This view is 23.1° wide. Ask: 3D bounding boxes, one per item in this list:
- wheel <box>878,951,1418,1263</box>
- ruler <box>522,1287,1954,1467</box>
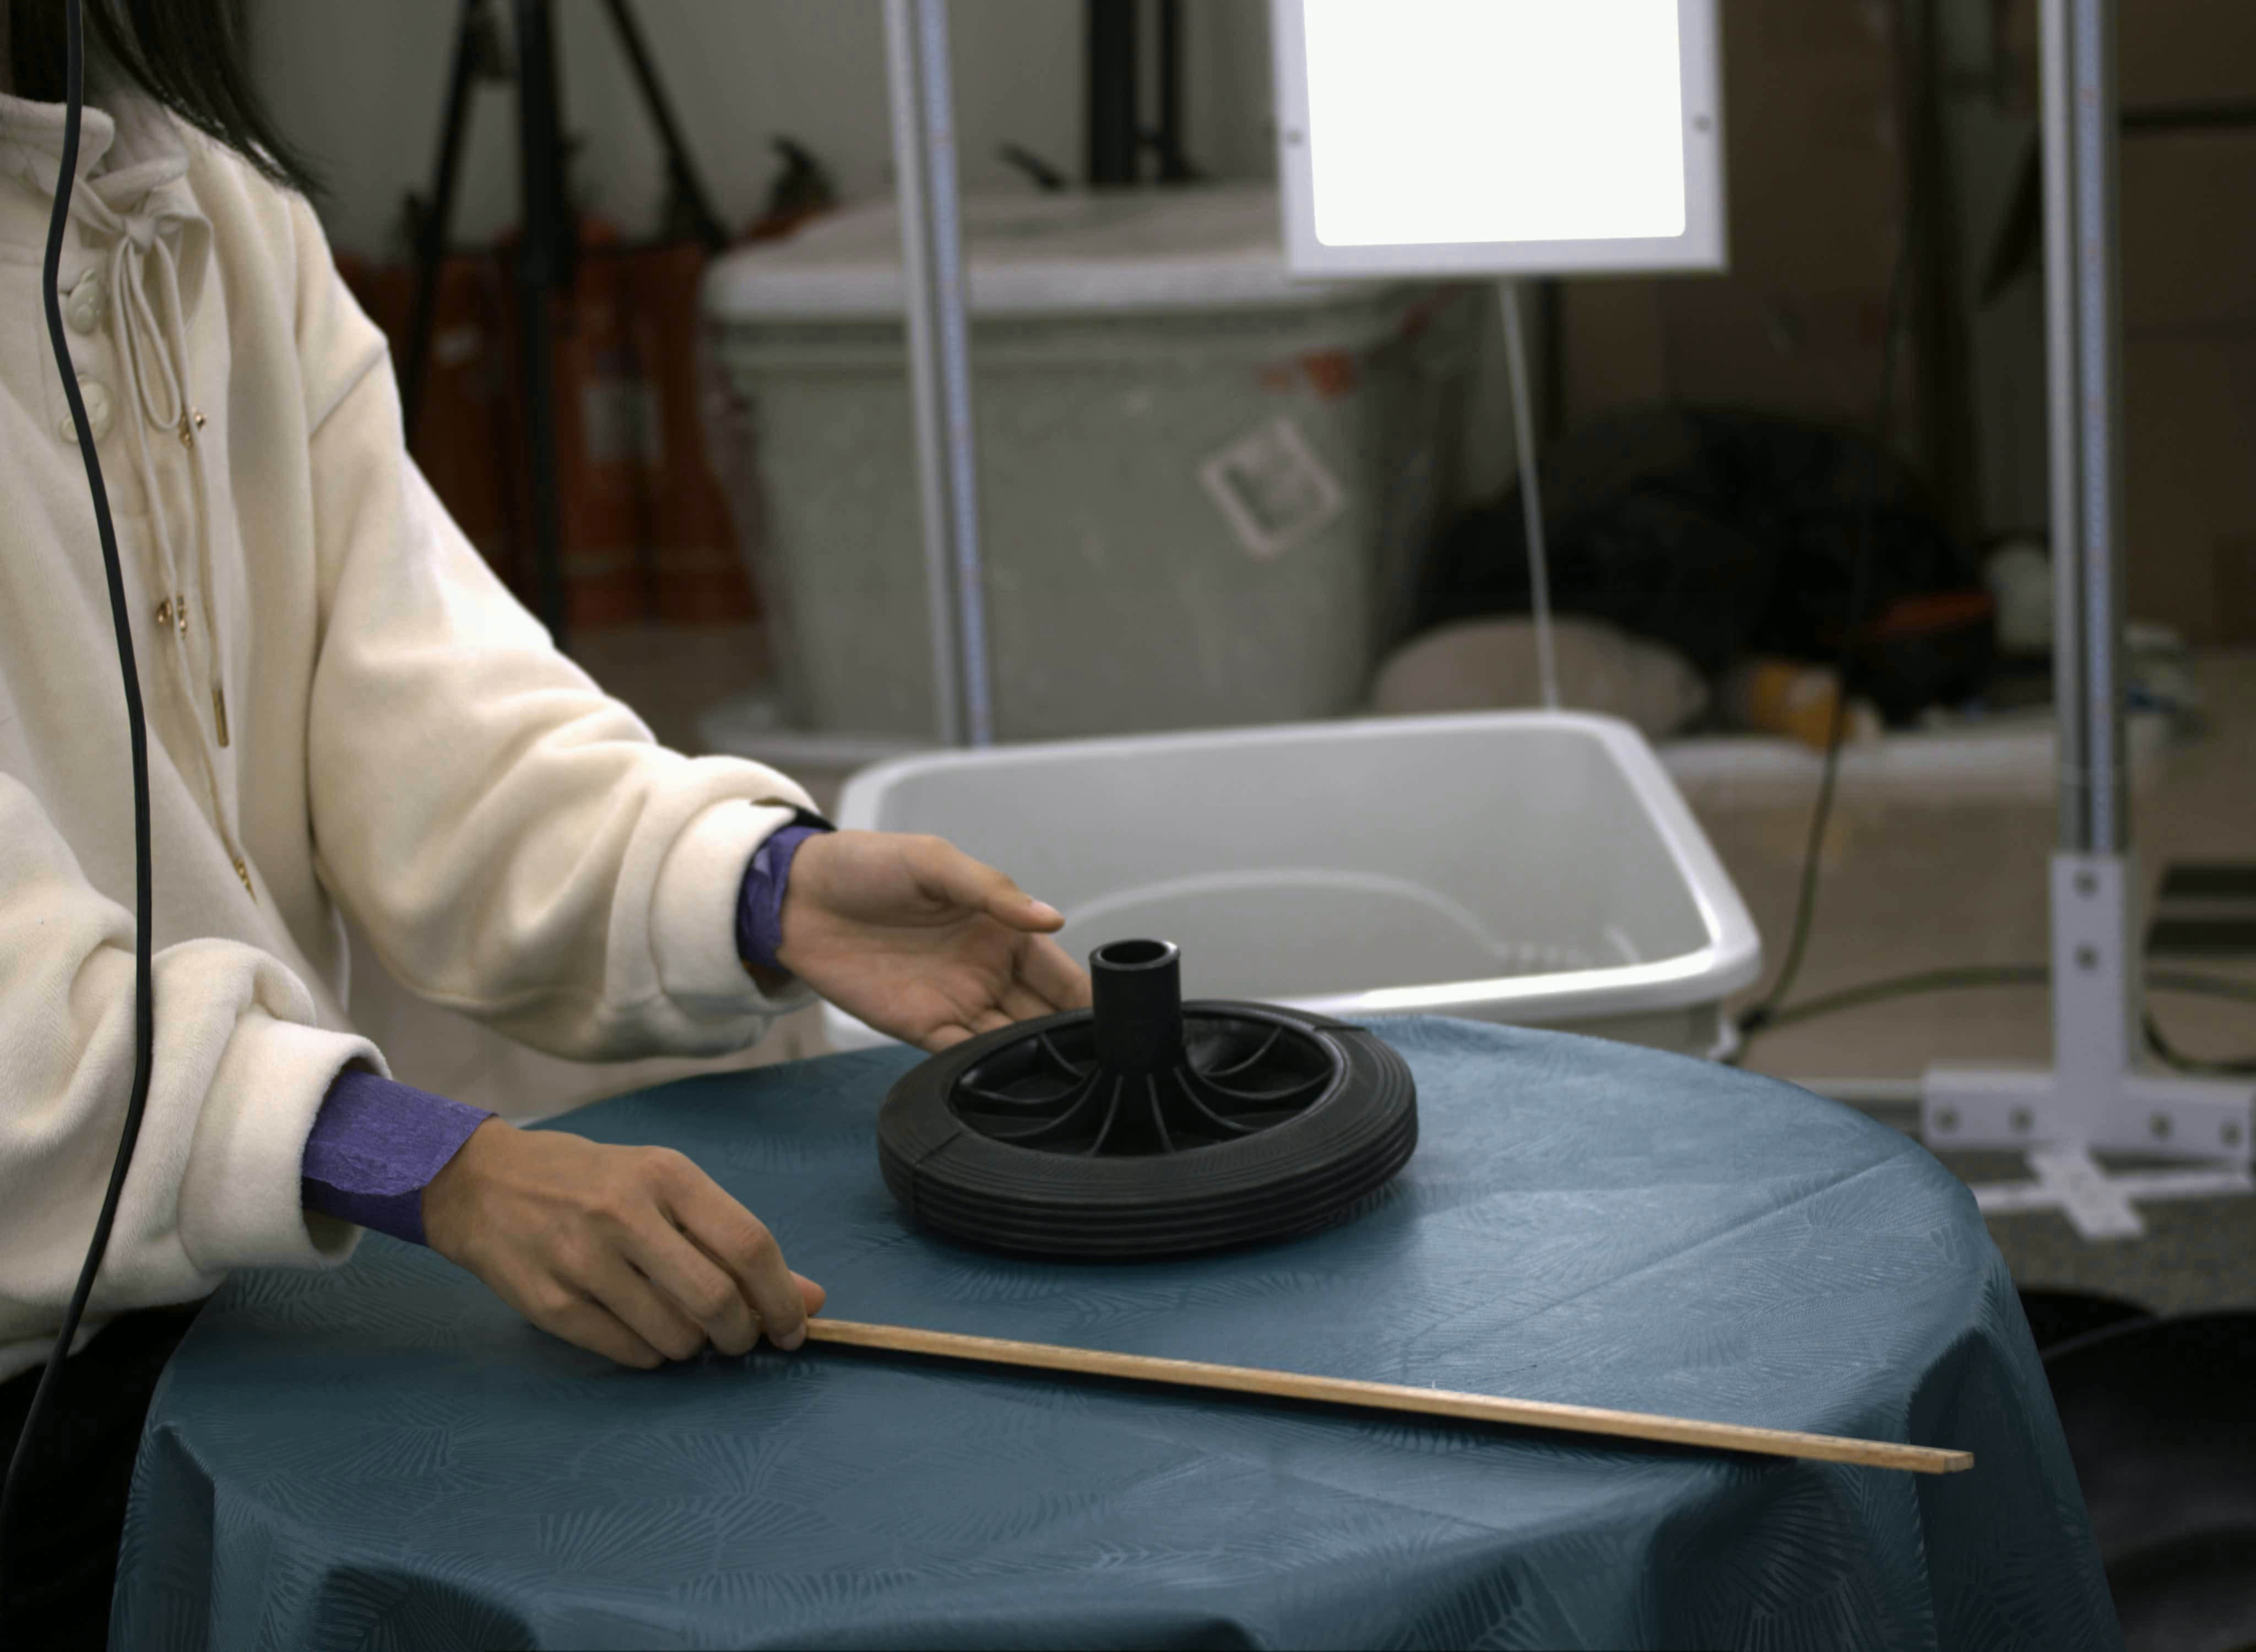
[{"bbox_3d":[0.005,0.085,1.896,0.188,0.079,0.188,-3,18,7],"label":"wheel"},{"bbox_3d":[0.020,0.168,1.696,0.510,0.006,0.026,3,-3,32],"label":"ruler"}]
